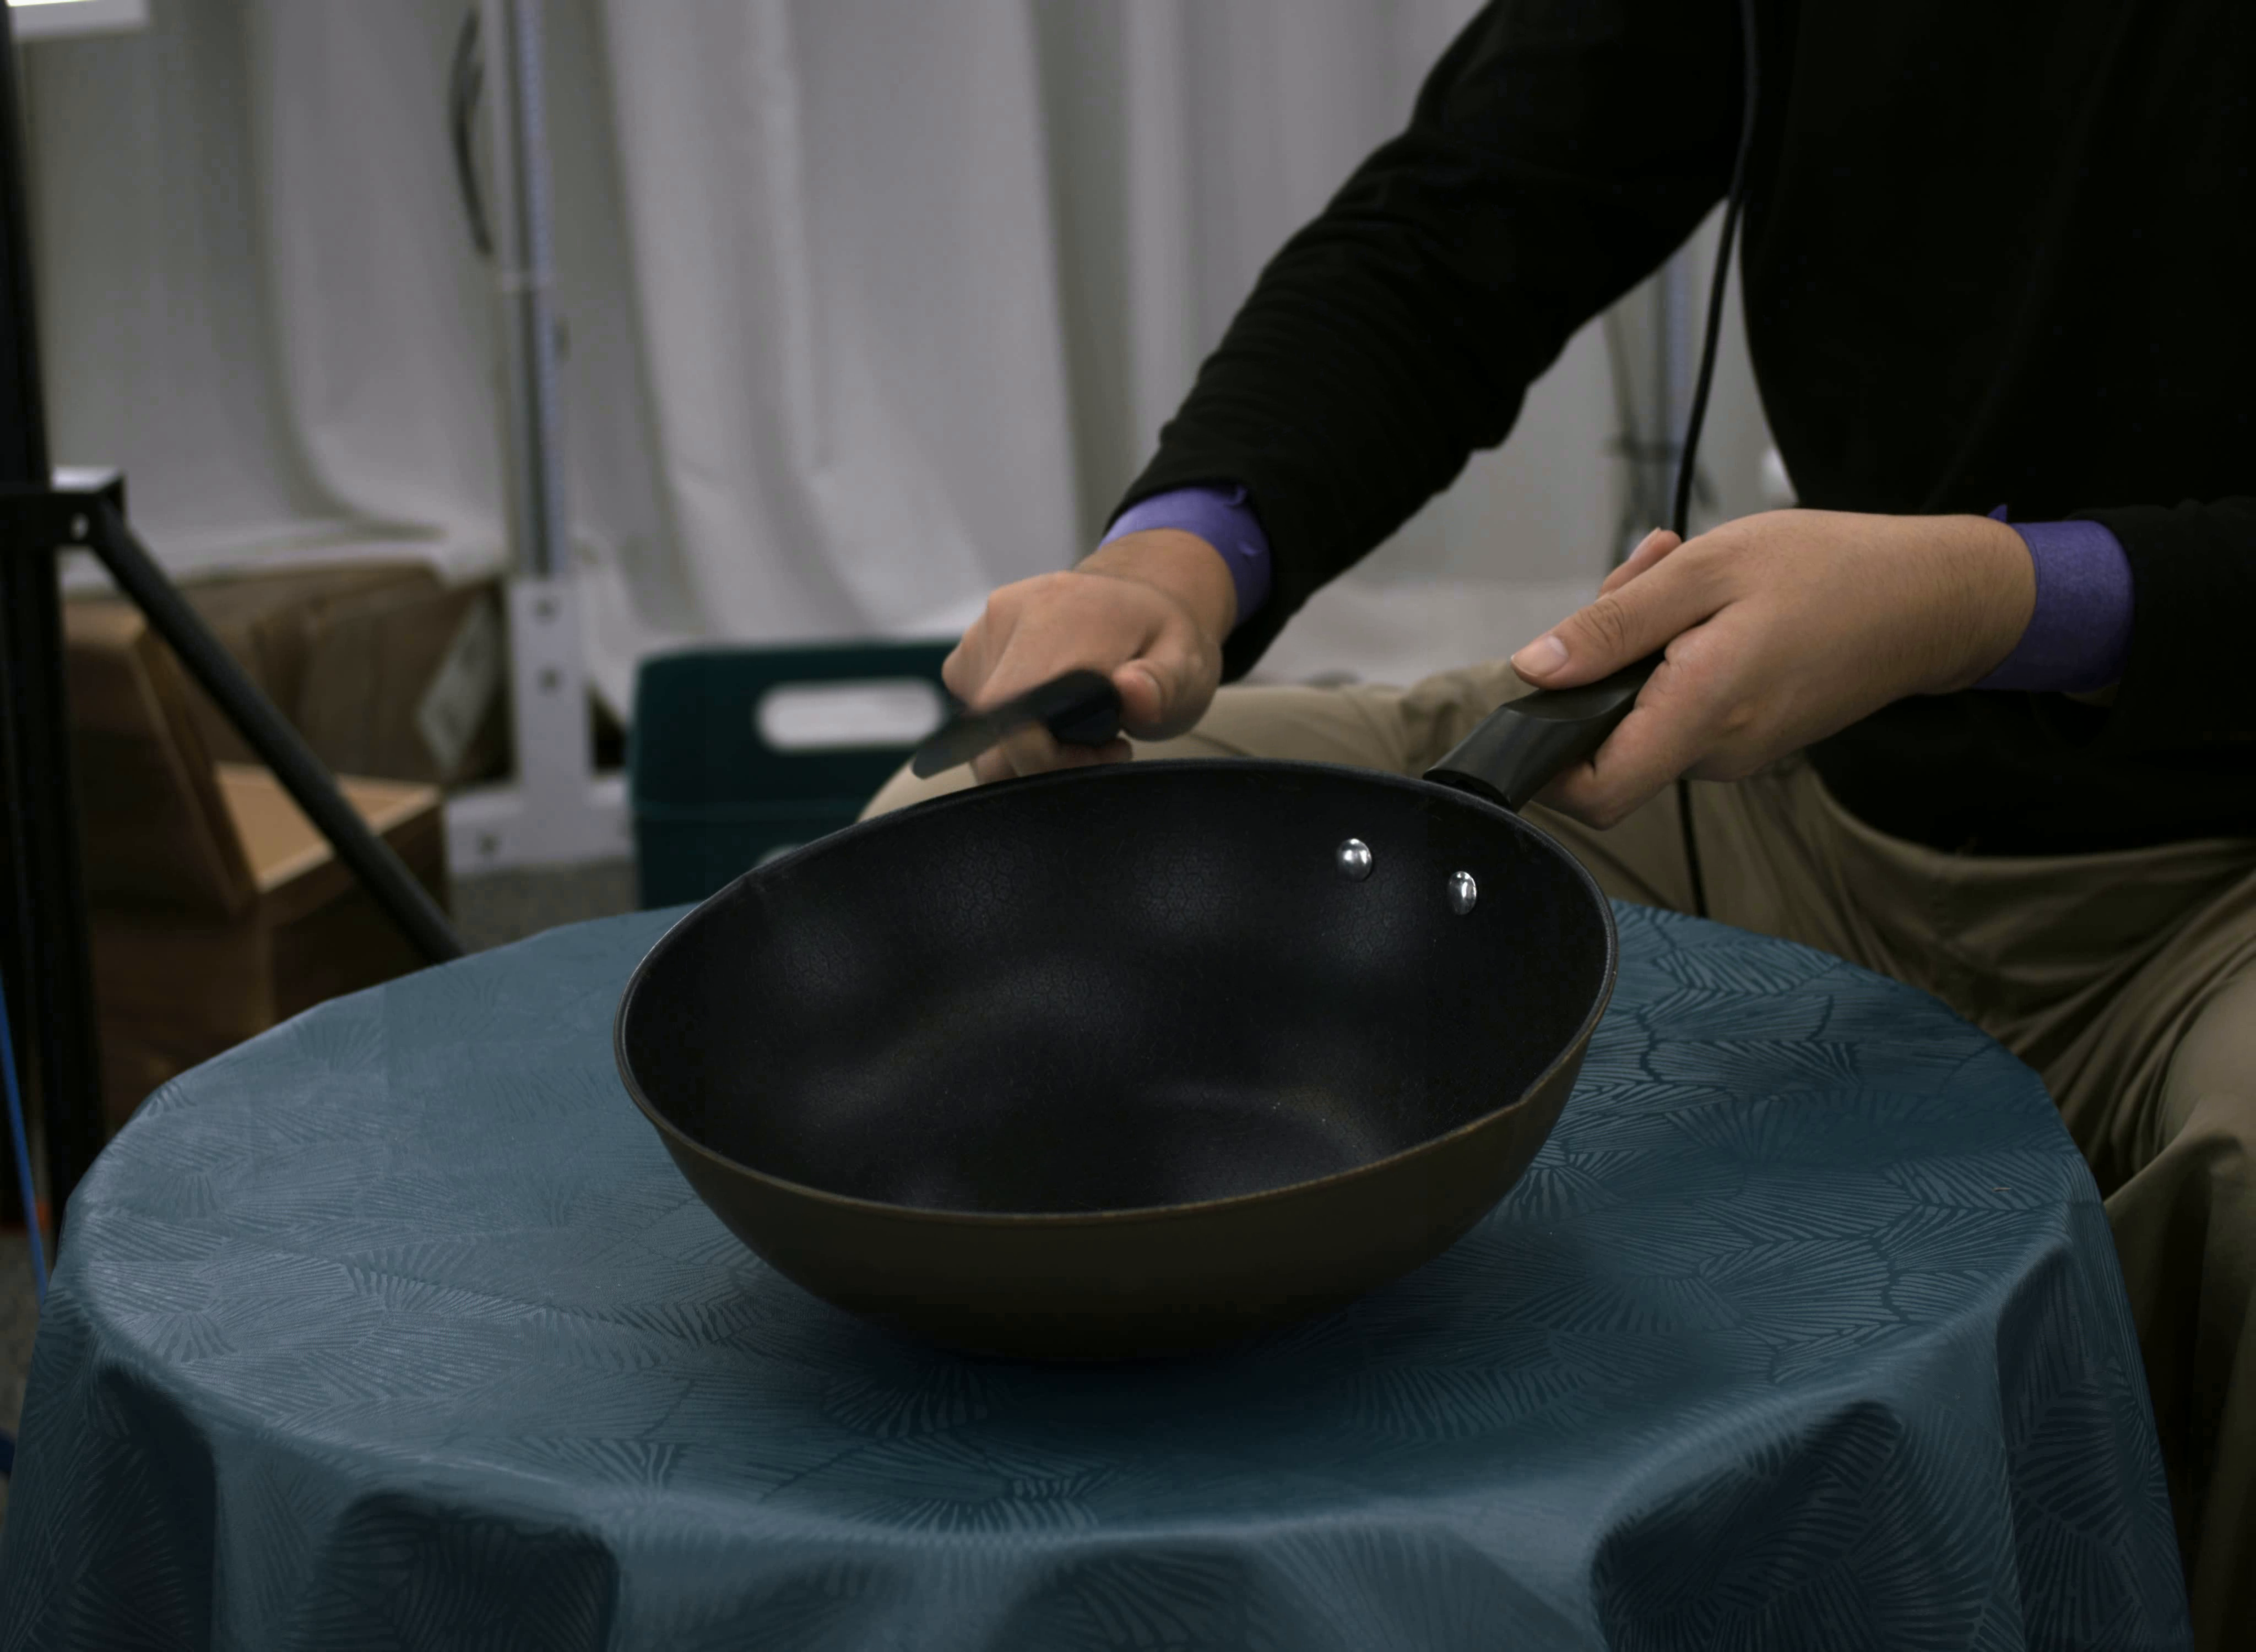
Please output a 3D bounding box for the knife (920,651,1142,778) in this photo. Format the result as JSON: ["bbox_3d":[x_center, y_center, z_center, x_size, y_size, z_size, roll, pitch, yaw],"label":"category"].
[{"bbox_3d":[-0.028,-0.031,1.644,0.081,0.021,0.301,-24,-2,2],"label":"knife"}]

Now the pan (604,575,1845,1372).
[{"bbox_3d":[0.059,0.041,1.536,0.295,0.086,0.455,16,34,41],"label":"pan"}]
